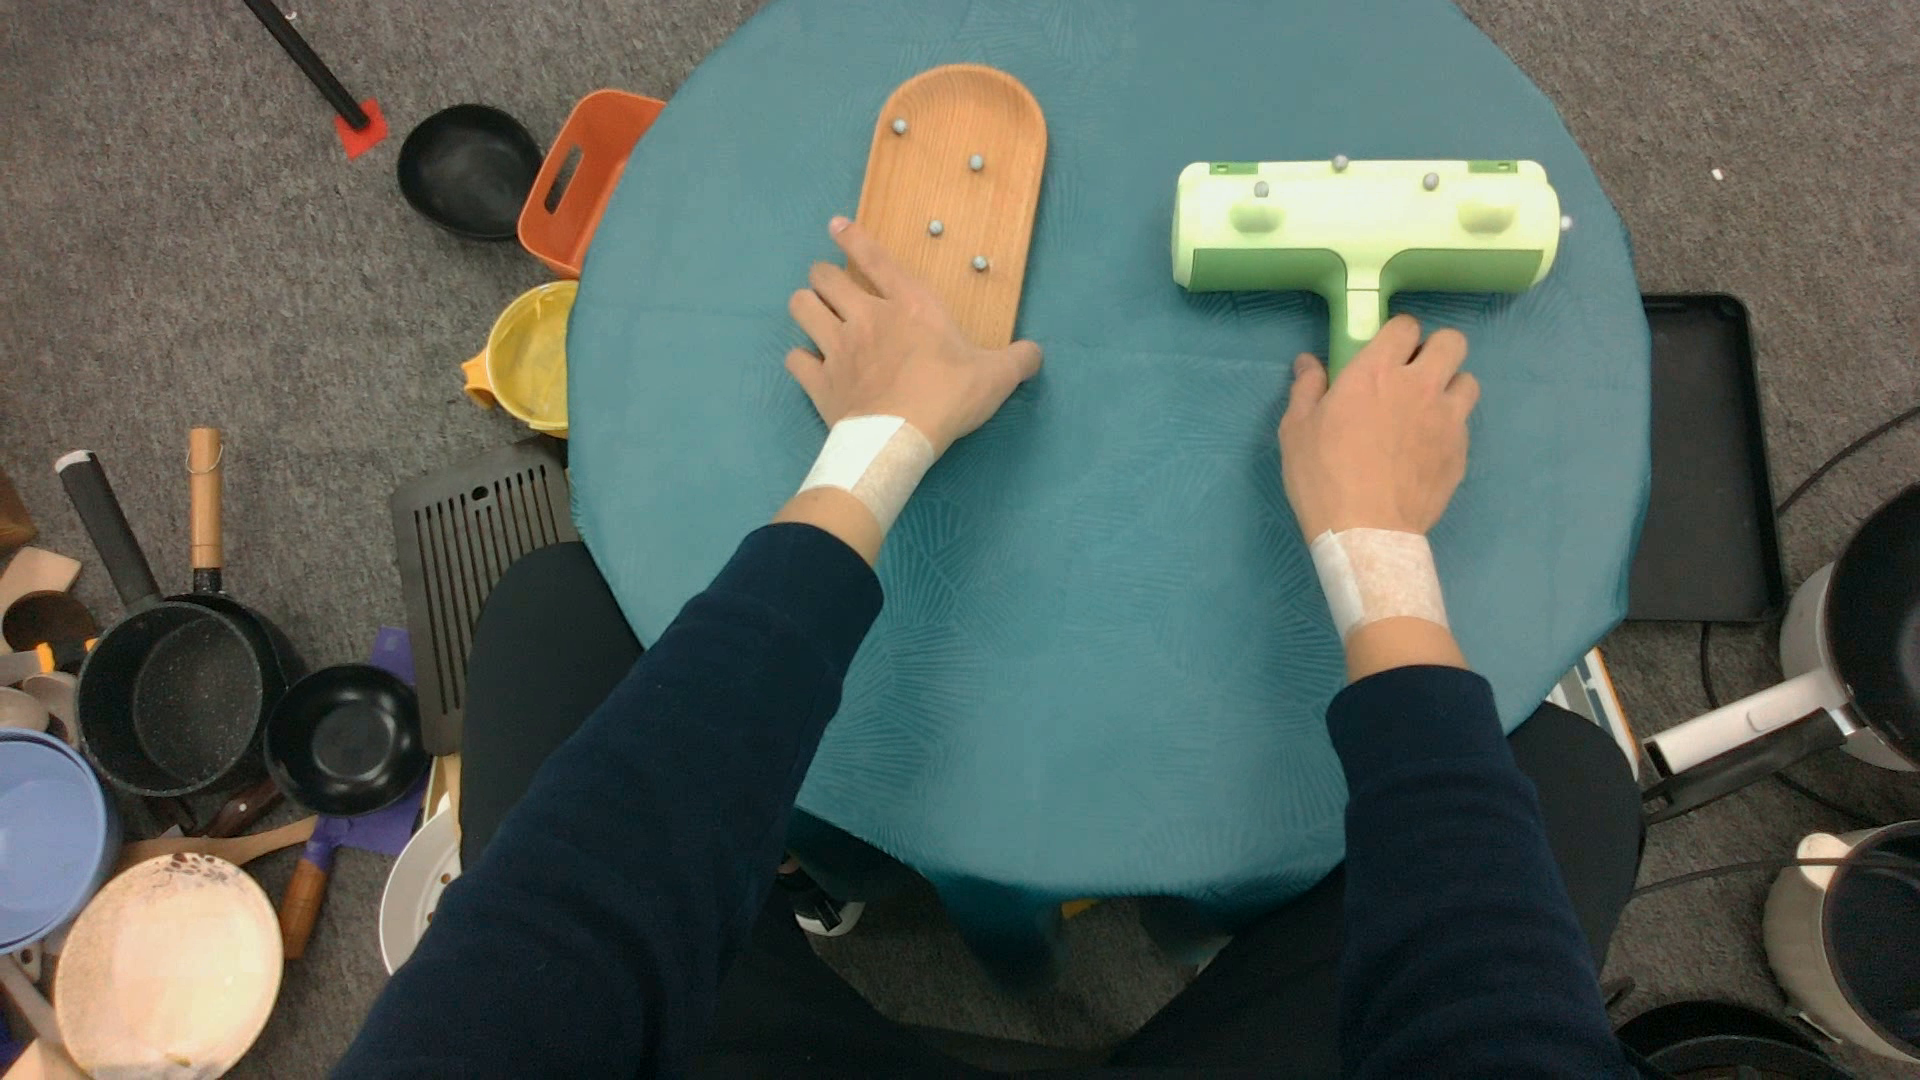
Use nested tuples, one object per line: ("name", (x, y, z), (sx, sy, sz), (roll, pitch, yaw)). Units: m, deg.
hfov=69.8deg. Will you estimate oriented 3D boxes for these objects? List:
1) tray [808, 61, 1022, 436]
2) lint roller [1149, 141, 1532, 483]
("tray", (-0.024, -0.167, 0.779), (0.101, 0.020, 0.231), (7, 76, 6))
("lint roller", (0.201, -0.127, 0.717), (0.198, 0.082, 0.184), (-1, 68, 4))
